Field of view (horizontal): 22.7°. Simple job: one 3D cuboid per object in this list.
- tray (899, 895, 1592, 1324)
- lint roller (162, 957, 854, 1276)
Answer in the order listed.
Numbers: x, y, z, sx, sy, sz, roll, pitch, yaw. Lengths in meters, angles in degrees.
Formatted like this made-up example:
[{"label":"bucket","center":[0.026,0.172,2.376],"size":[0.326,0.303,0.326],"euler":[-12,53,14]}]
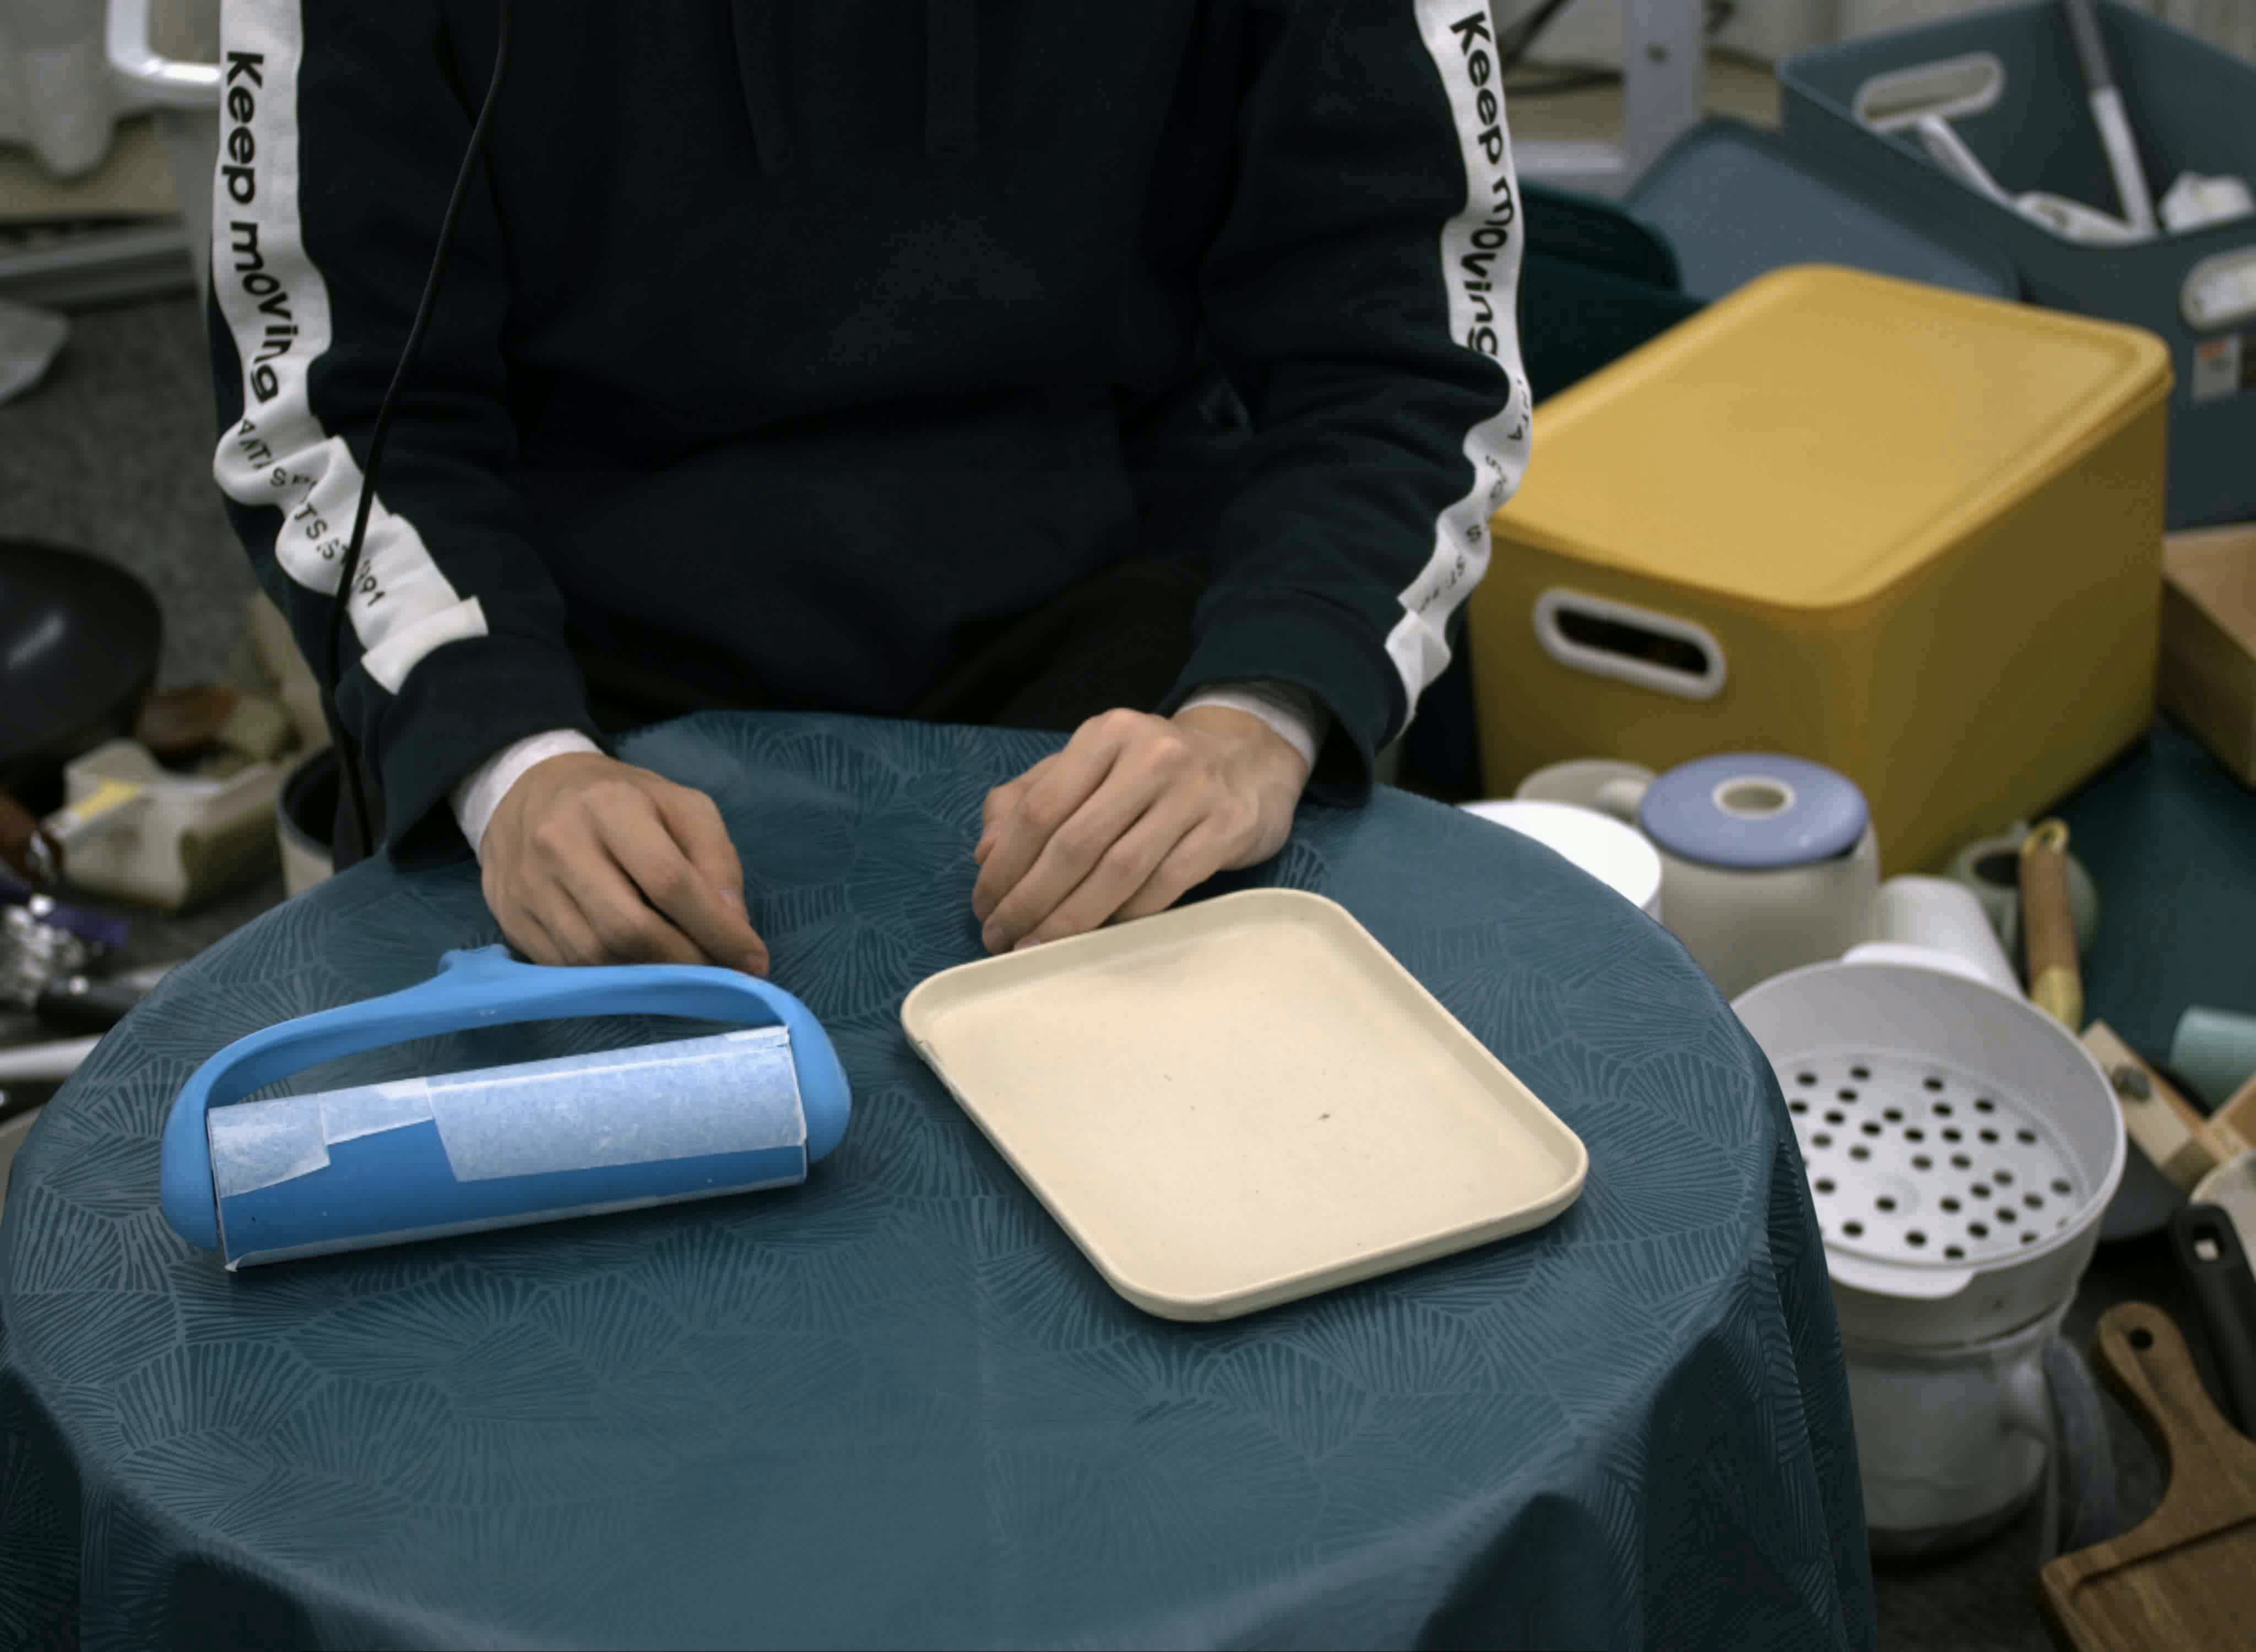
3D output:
[{"label":"tray","center":[0.036,0.094,1.891],"size":[0.172,0.017,0.241],"euler":[-13,29,-20]},{"label":"lint roller","center":[-0.218,0.079,1.901],"size":[0.229,0.067,0.182],"euler":[-10,29,-11]}]
